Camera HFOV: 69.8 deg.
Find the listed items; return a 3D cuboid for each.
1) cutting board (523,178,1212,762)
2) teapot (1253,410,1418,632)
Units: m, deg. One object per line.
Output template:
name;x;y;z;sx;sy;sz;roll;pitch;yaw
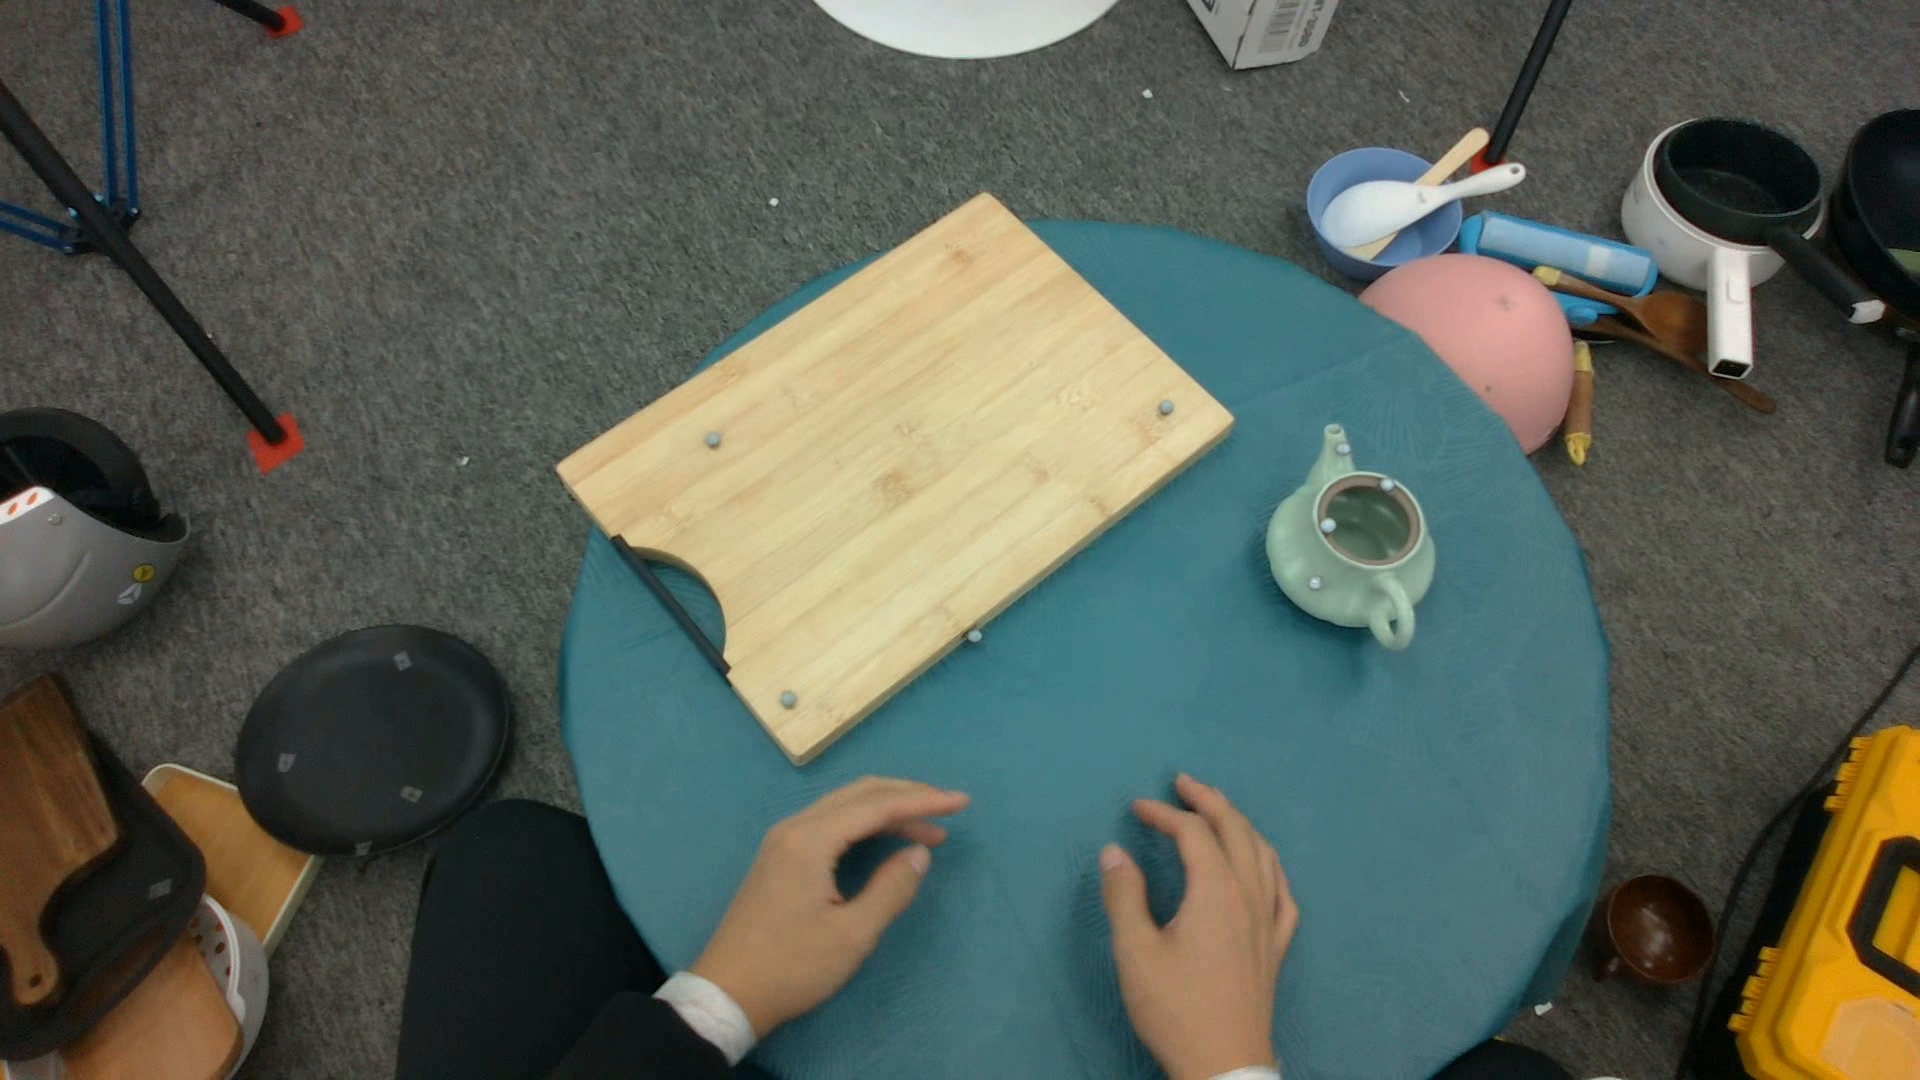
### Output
cutting board;-0.050;-0.060;0.839;0.350;0.023;0.251;-38;69;-20
teapot;0.221;-0.005;0.794;0.096;0.061;0.137;-12;63;-9
